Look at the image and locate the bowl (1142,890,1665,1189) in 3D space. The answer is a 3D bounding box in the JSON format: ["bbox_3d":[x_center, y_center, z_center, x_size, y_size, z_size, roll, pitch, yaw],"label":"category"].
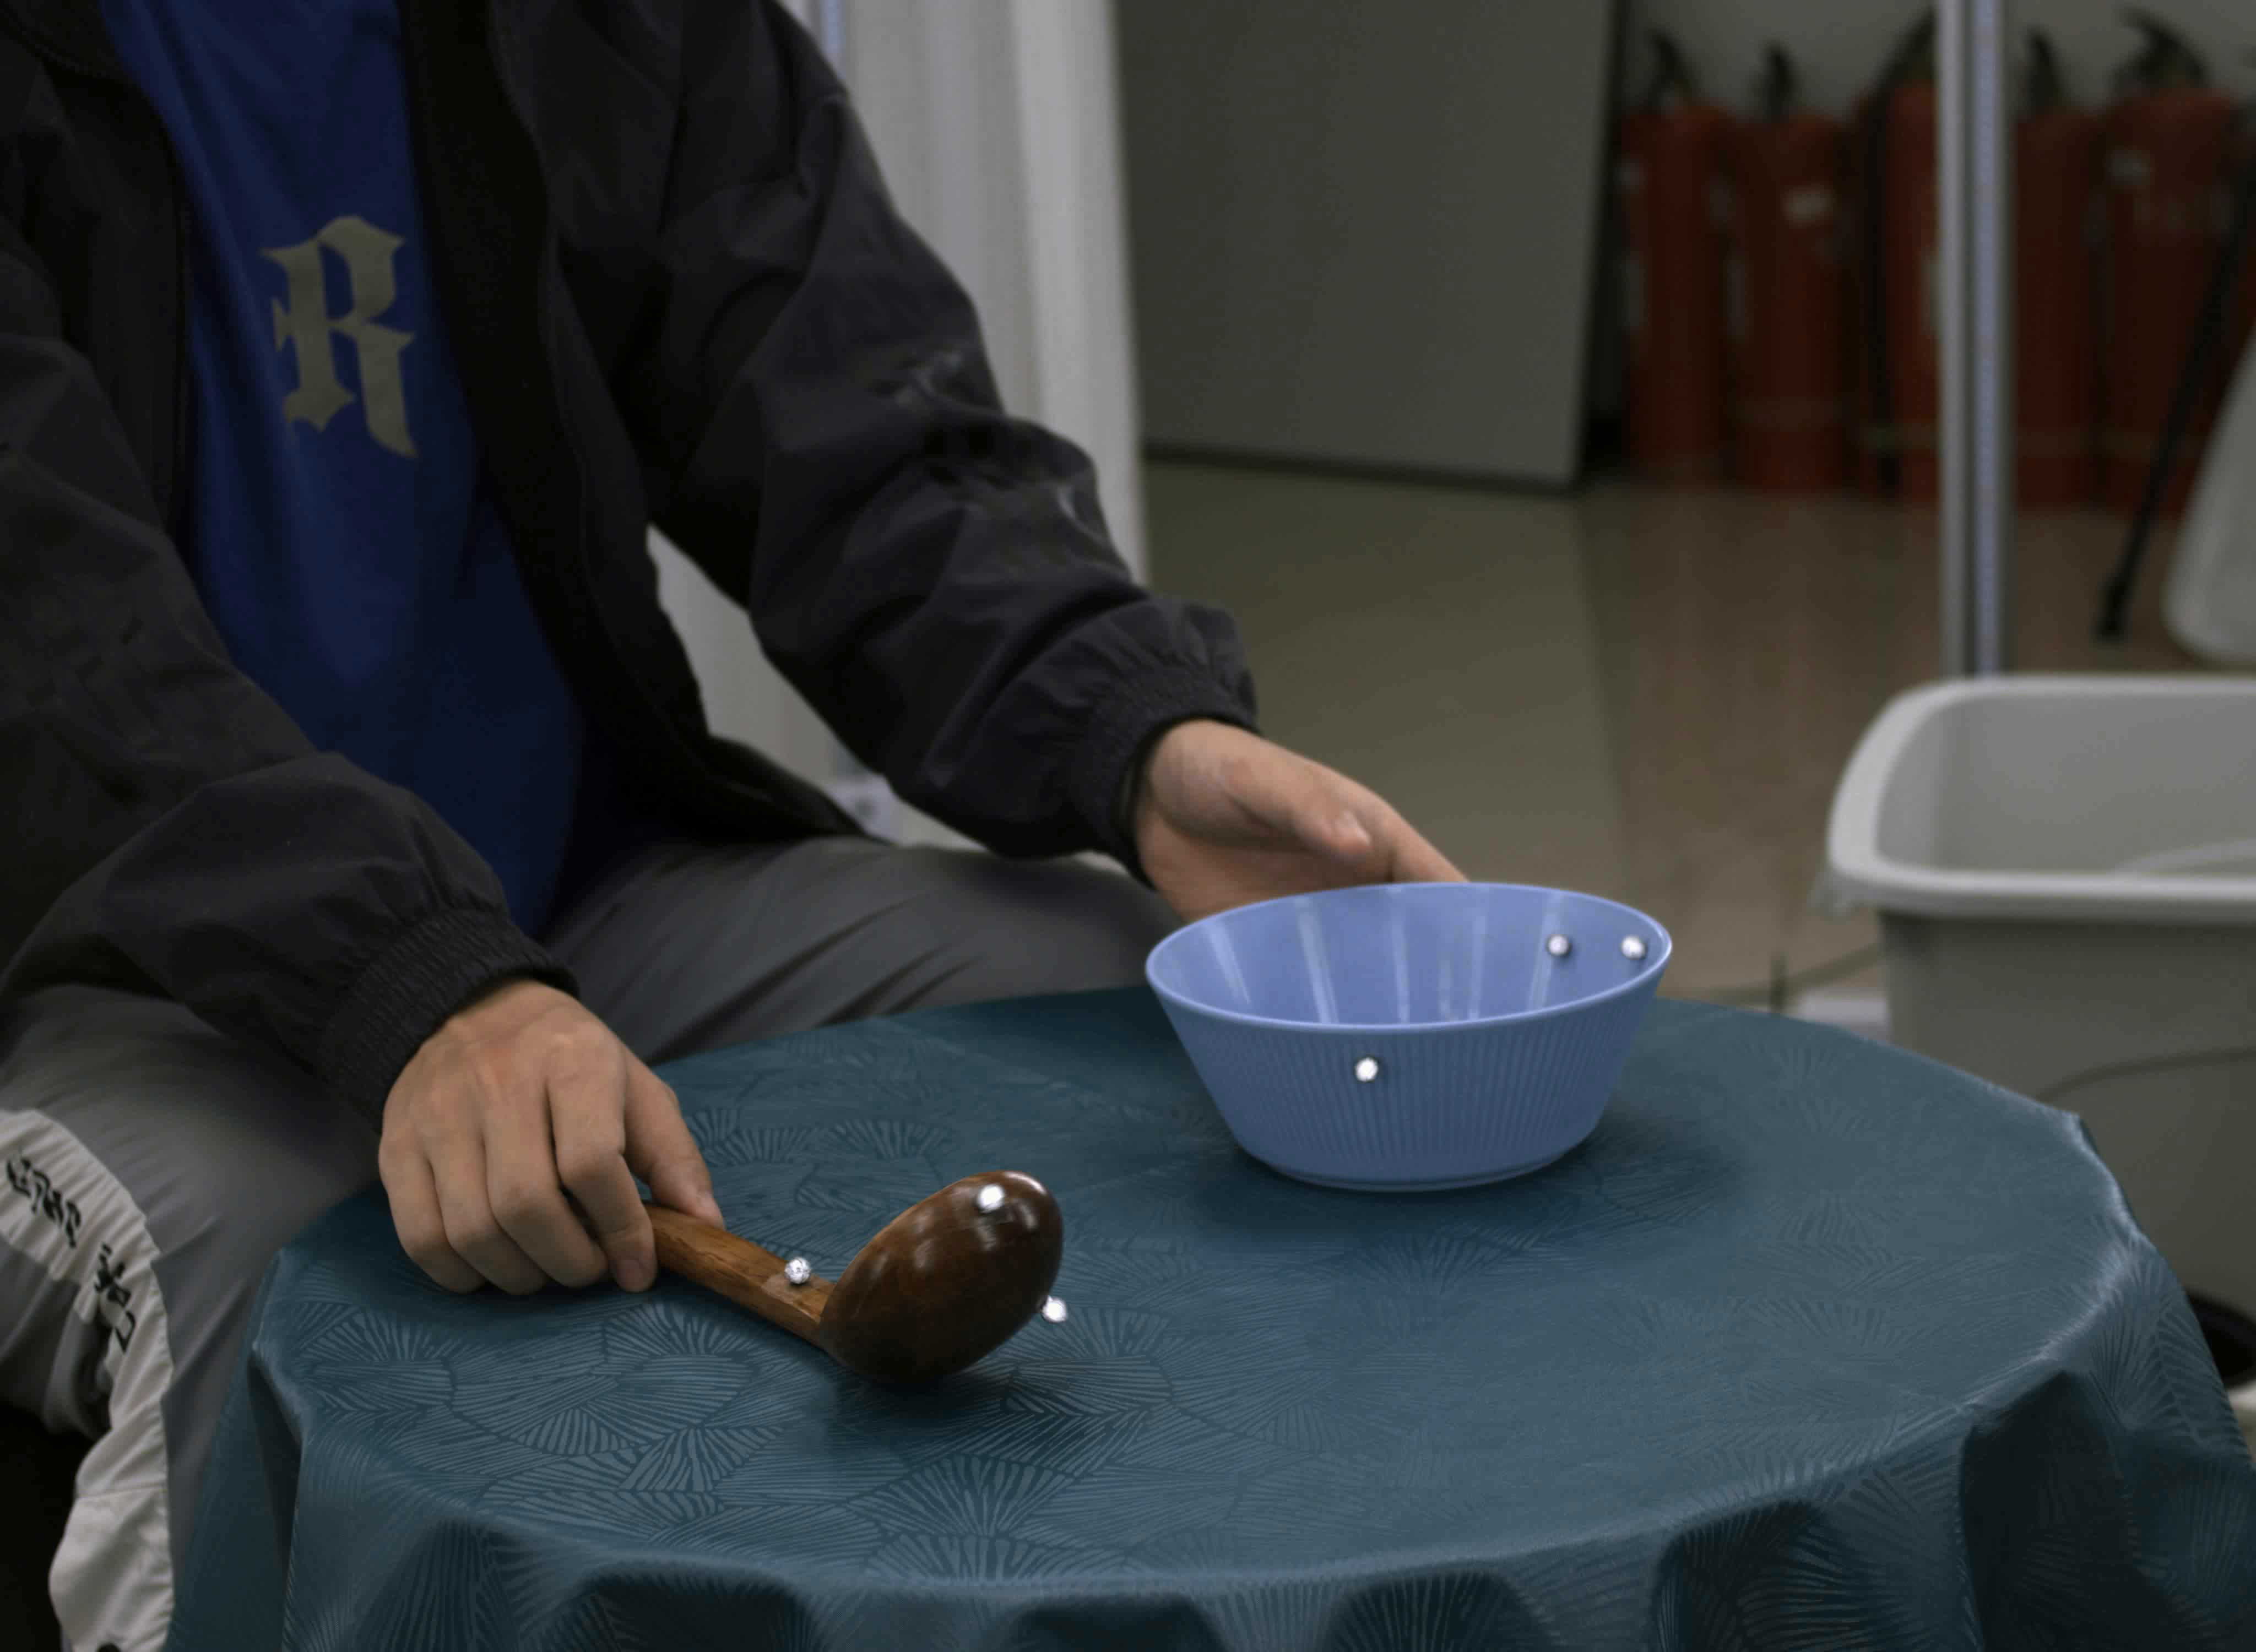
[{"bbox_3d":[0.093,0.073,1.793,0.174,0.071,0.176,-4,13,0],"label":"bowl"}]

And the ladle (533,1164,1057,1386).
[{"bbox_3d":[-0.116,0.116,1.664,0.080,0.077,0.277,-12,16,-32],"label":"ladle"}]
